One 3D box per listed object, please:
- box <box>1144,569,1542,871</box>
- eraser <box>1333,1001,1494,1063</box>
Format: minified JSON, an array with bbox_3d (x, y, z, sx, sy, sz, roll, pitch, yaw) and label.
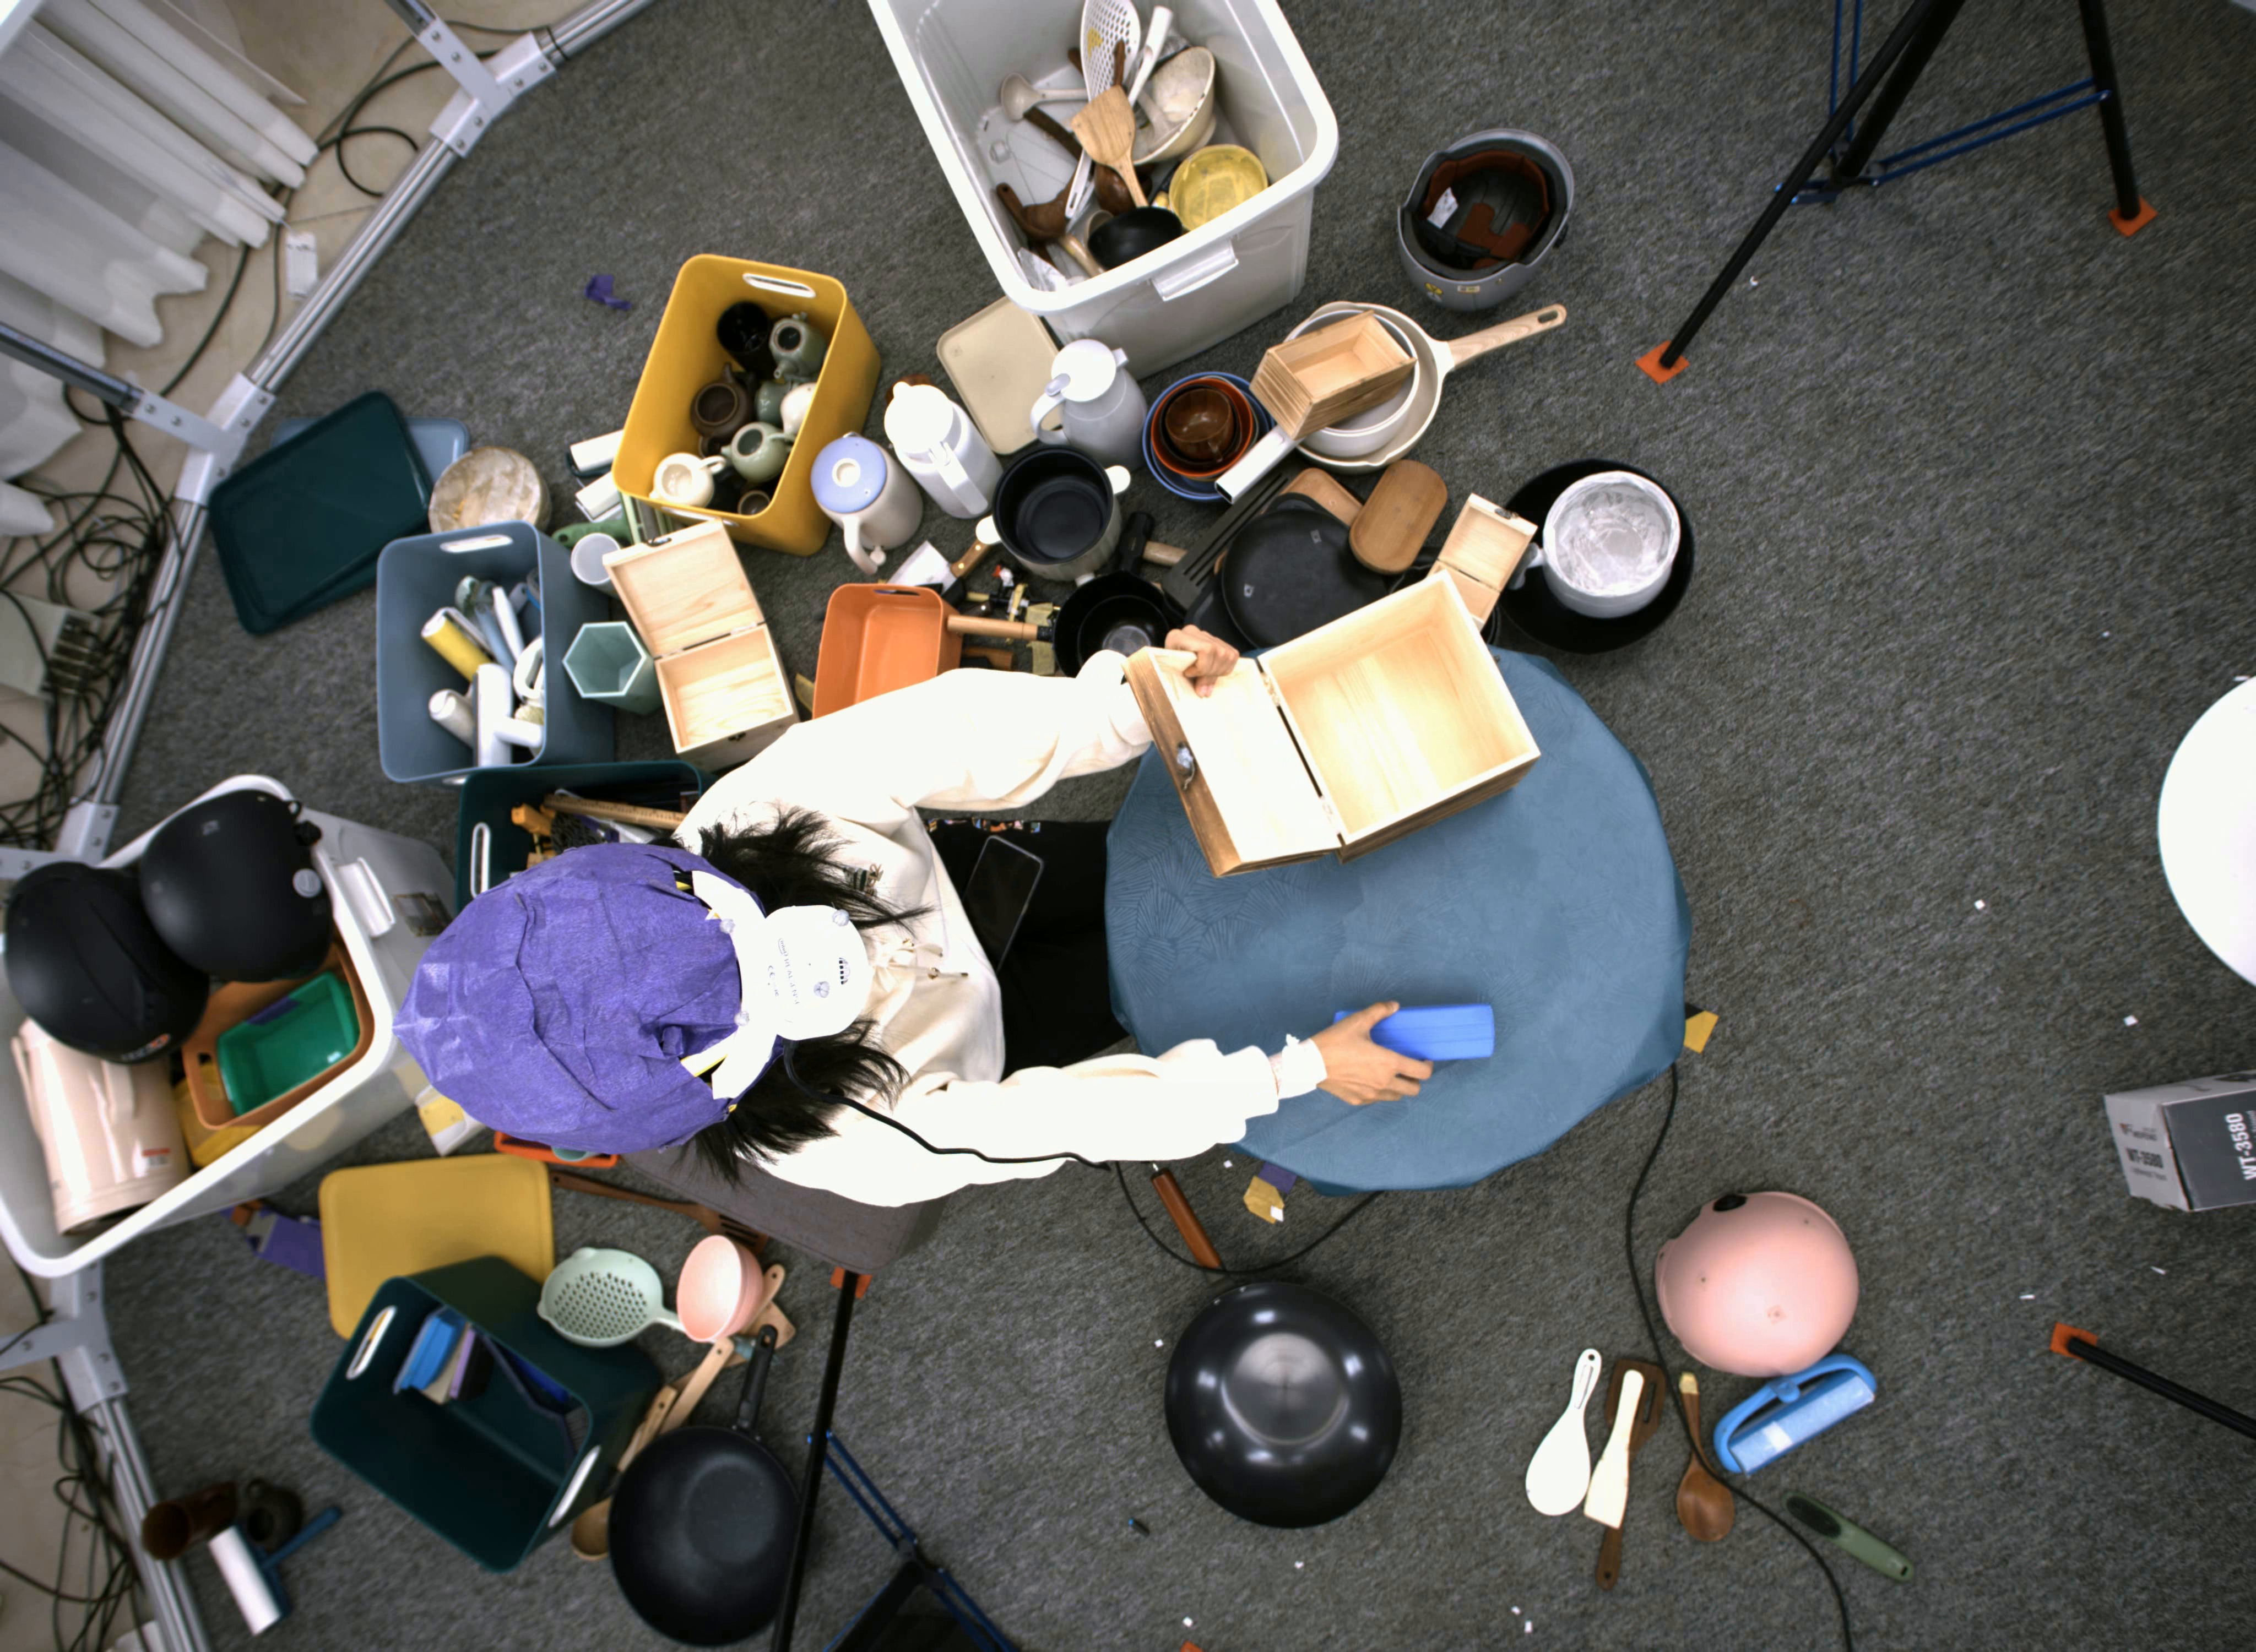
[{"bbox_3d":[0.205,-0.094,1.287,0.323,0.377,0.207,-25,80,4],"label":"box"},{"bbox_3d":[0.288,0.207,1.395,0.163,0.047,0.053,-6,87,12],"label":"eraser"}]
